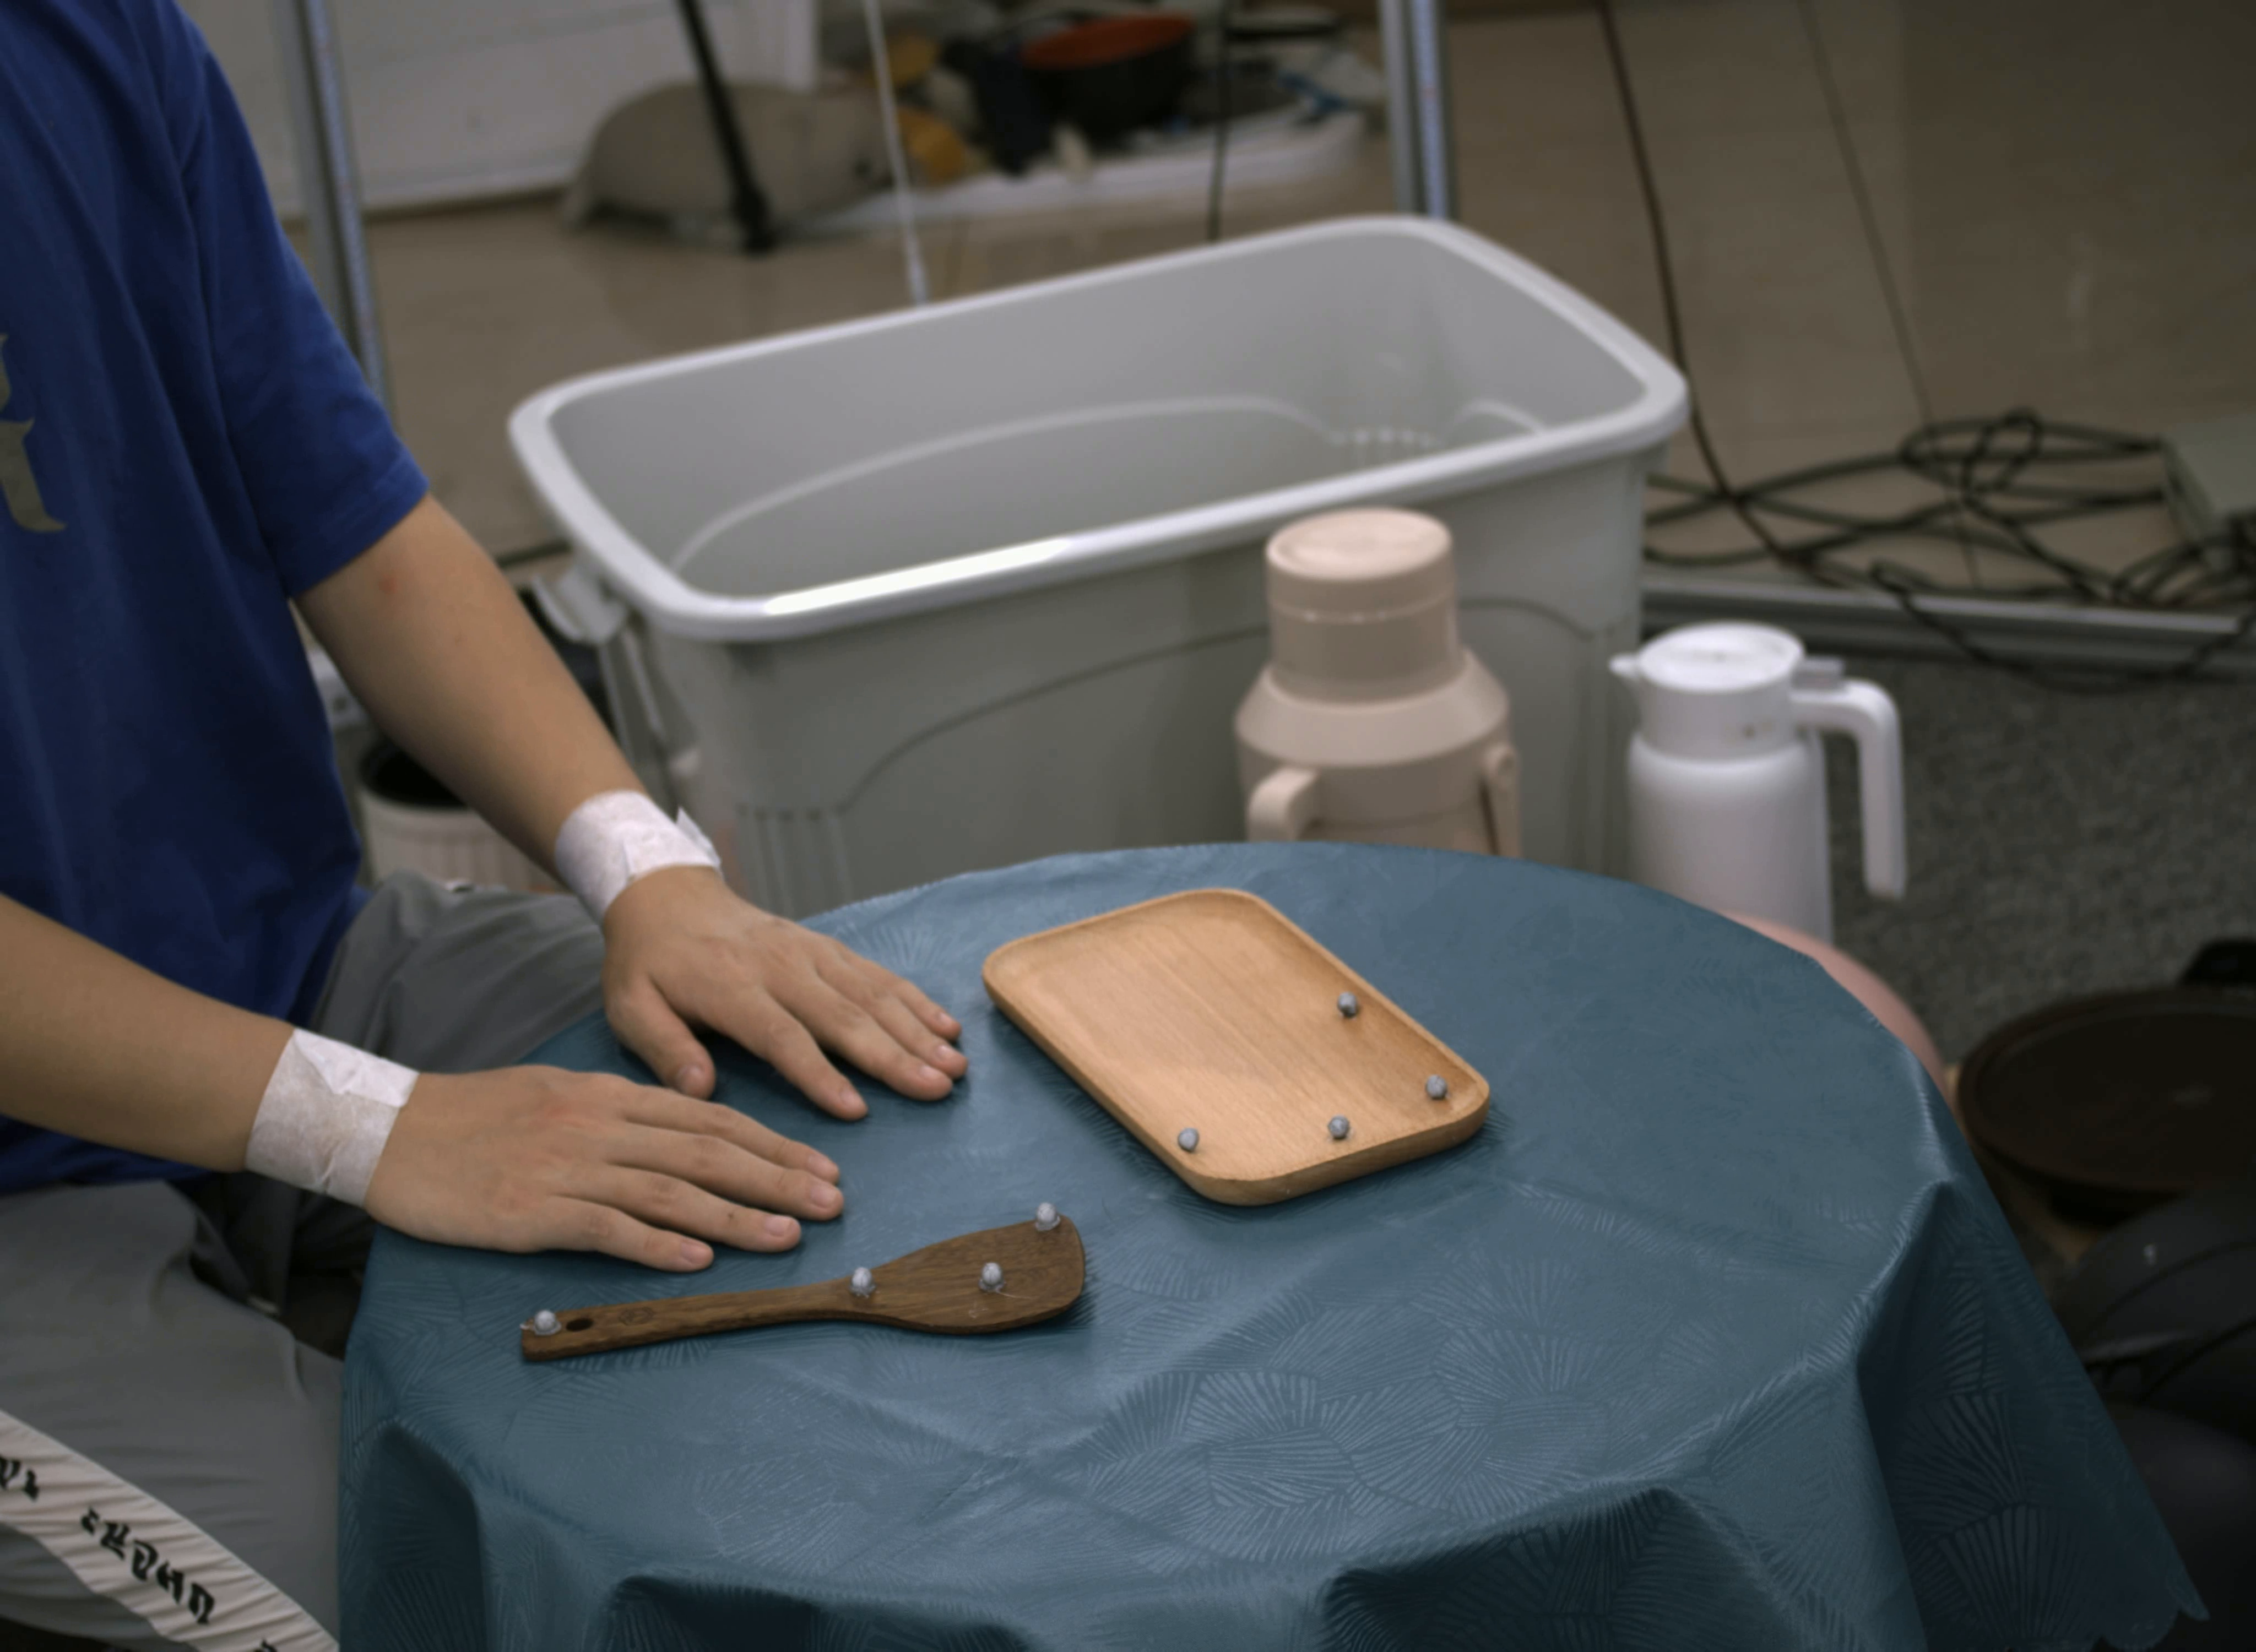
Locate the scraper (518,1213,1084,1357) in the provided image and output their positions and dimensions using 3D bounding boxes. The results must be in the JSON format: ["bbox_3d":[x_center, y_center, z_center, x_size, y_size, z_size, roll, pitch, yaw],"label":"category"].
[{"bbox_3d":[-0.120,0.175,2.089,0.211,0.011,0.075,-7,24,0],"label":"scraper"}]

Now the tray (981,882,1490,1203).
[{"bbox_3d":[0.039,0.083,2.236,0.130,0.023,0.247,-13,25,-20],"label":"tray"}]
